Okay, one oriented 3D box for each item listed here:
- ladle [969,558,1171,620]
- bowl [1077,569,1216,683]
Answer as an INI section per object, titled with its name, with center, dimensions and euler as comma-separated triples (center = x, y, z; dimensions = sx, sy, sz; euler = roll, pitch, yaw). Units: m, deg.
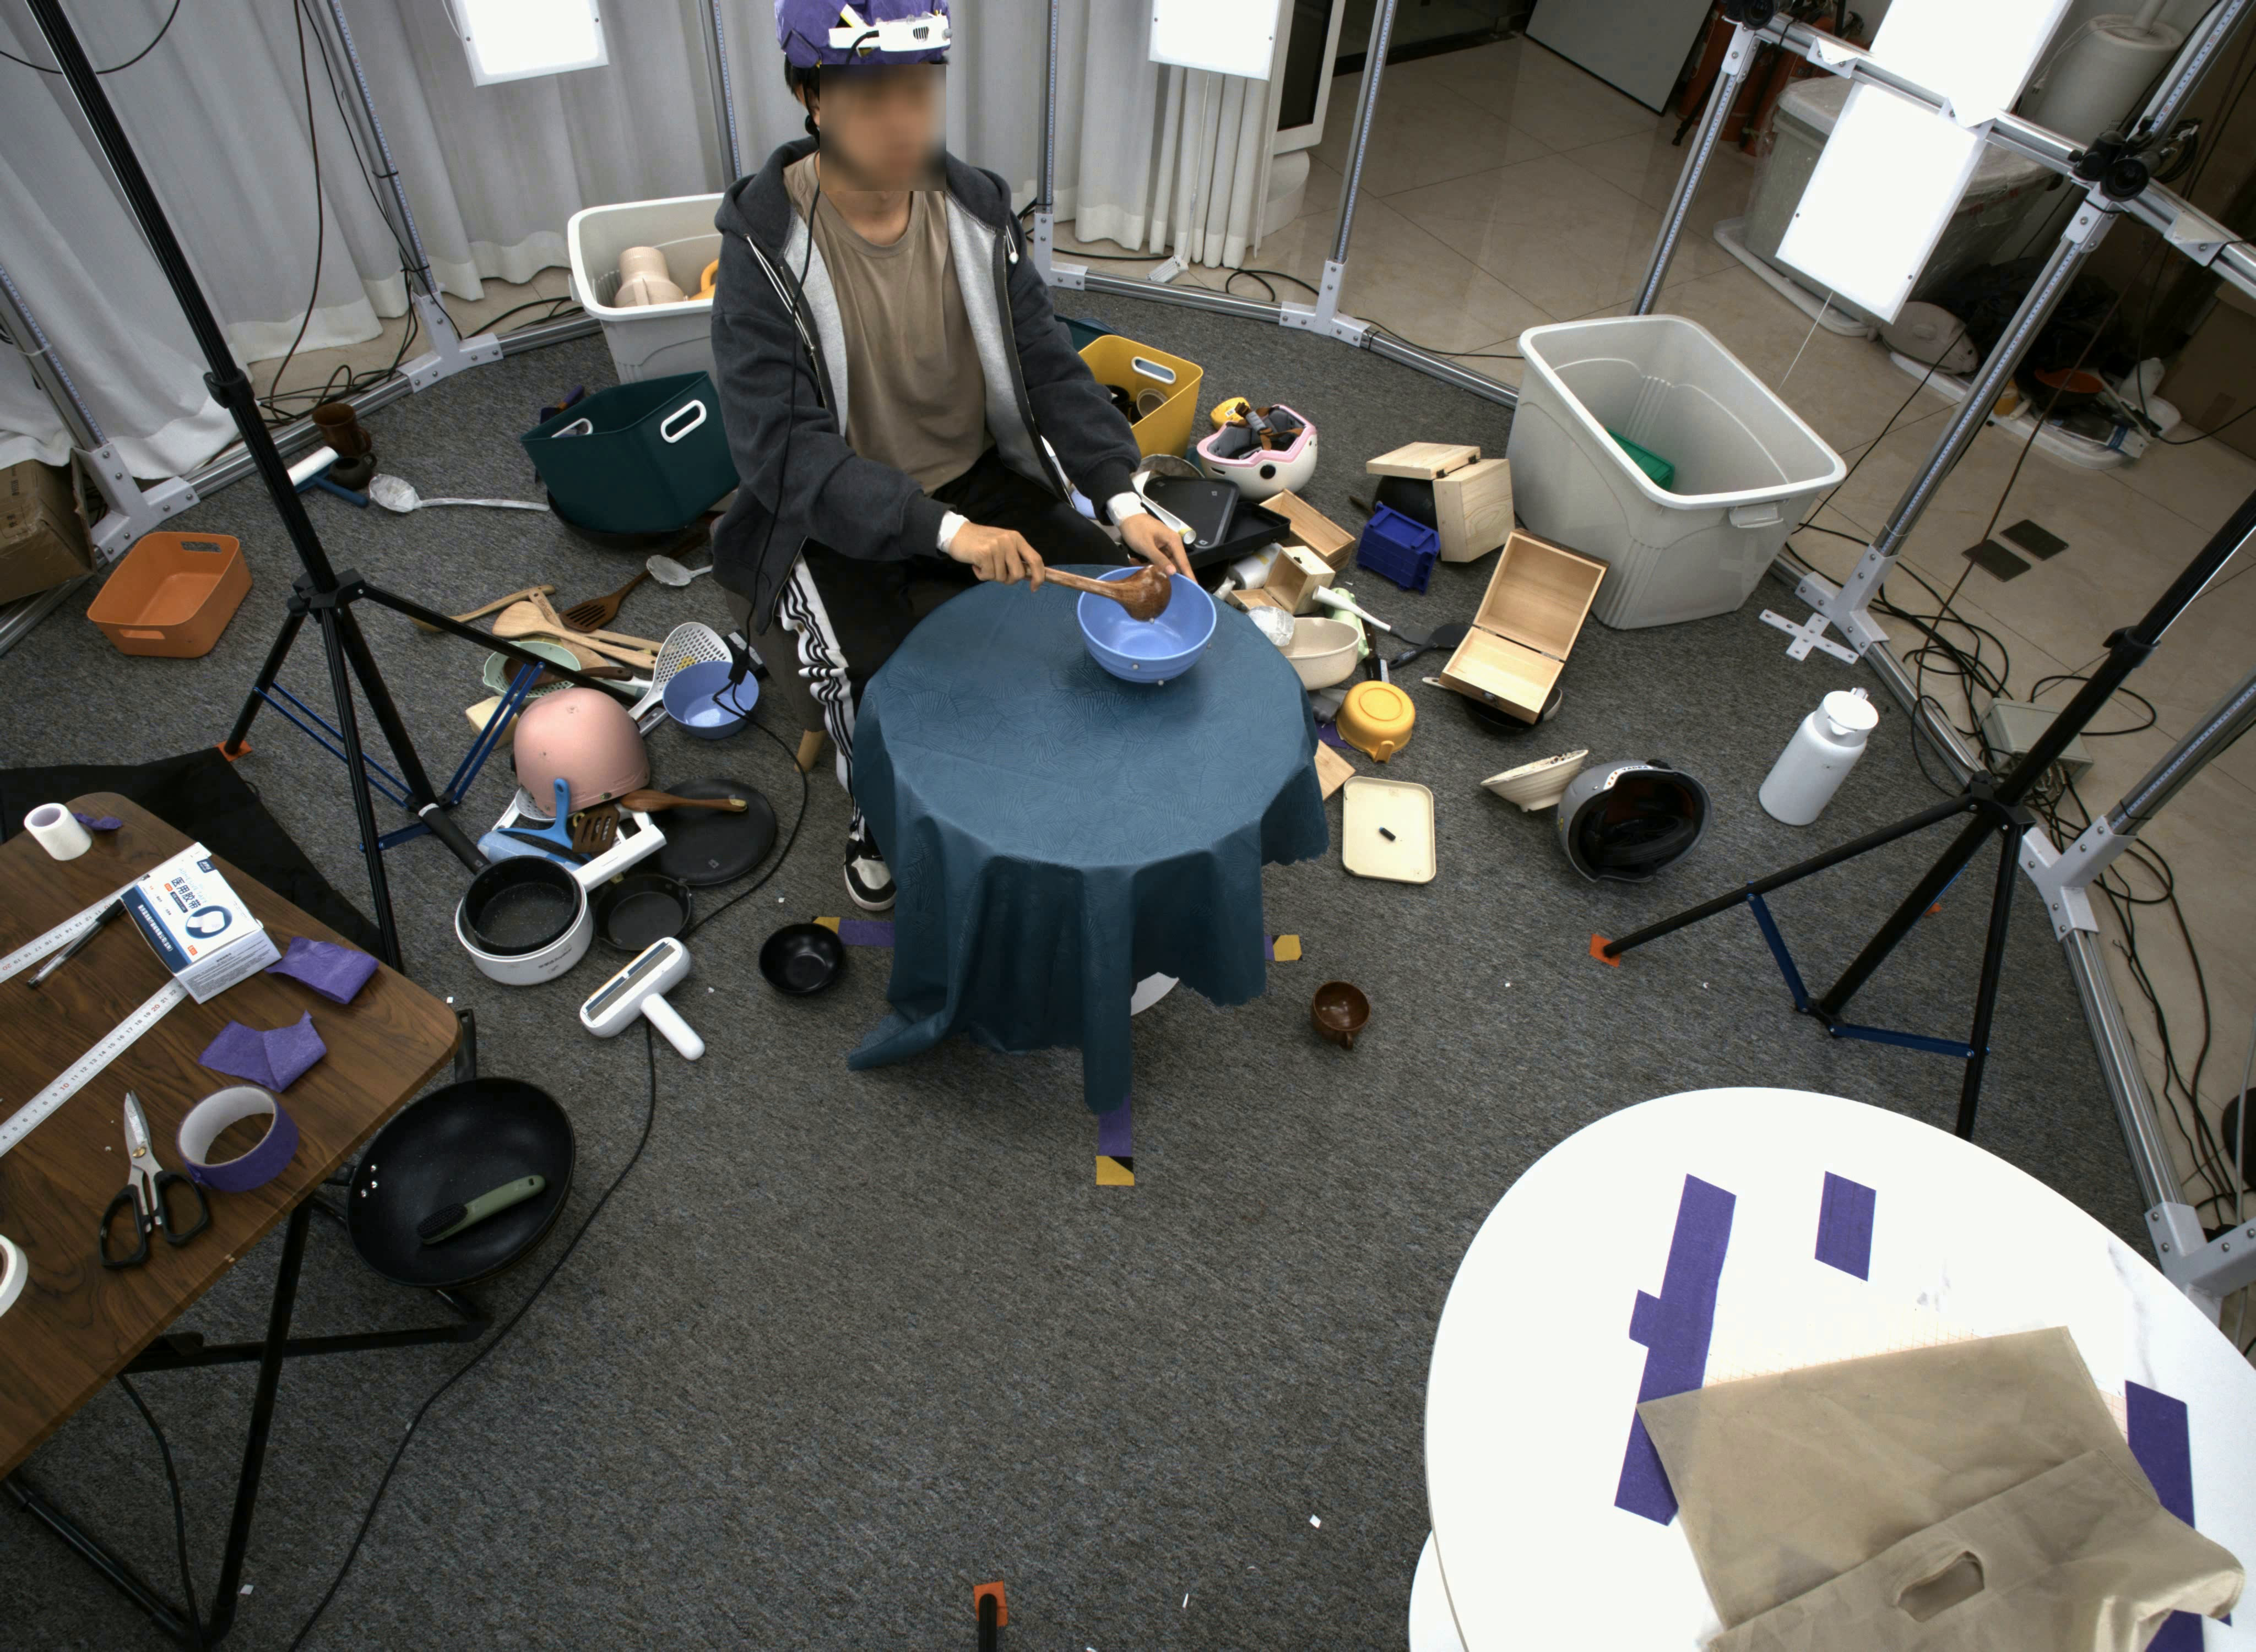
[ladle]
center = -0.076, -0.343, 1.772
dimensions = 0.274, 0.081, 0.078
euler = 10, 19, 0
[bowl]
center = 0.024, -0.272, 1.844
dimensions = 0.196, 0.093, 0.201
euler = 1, 48, -2
